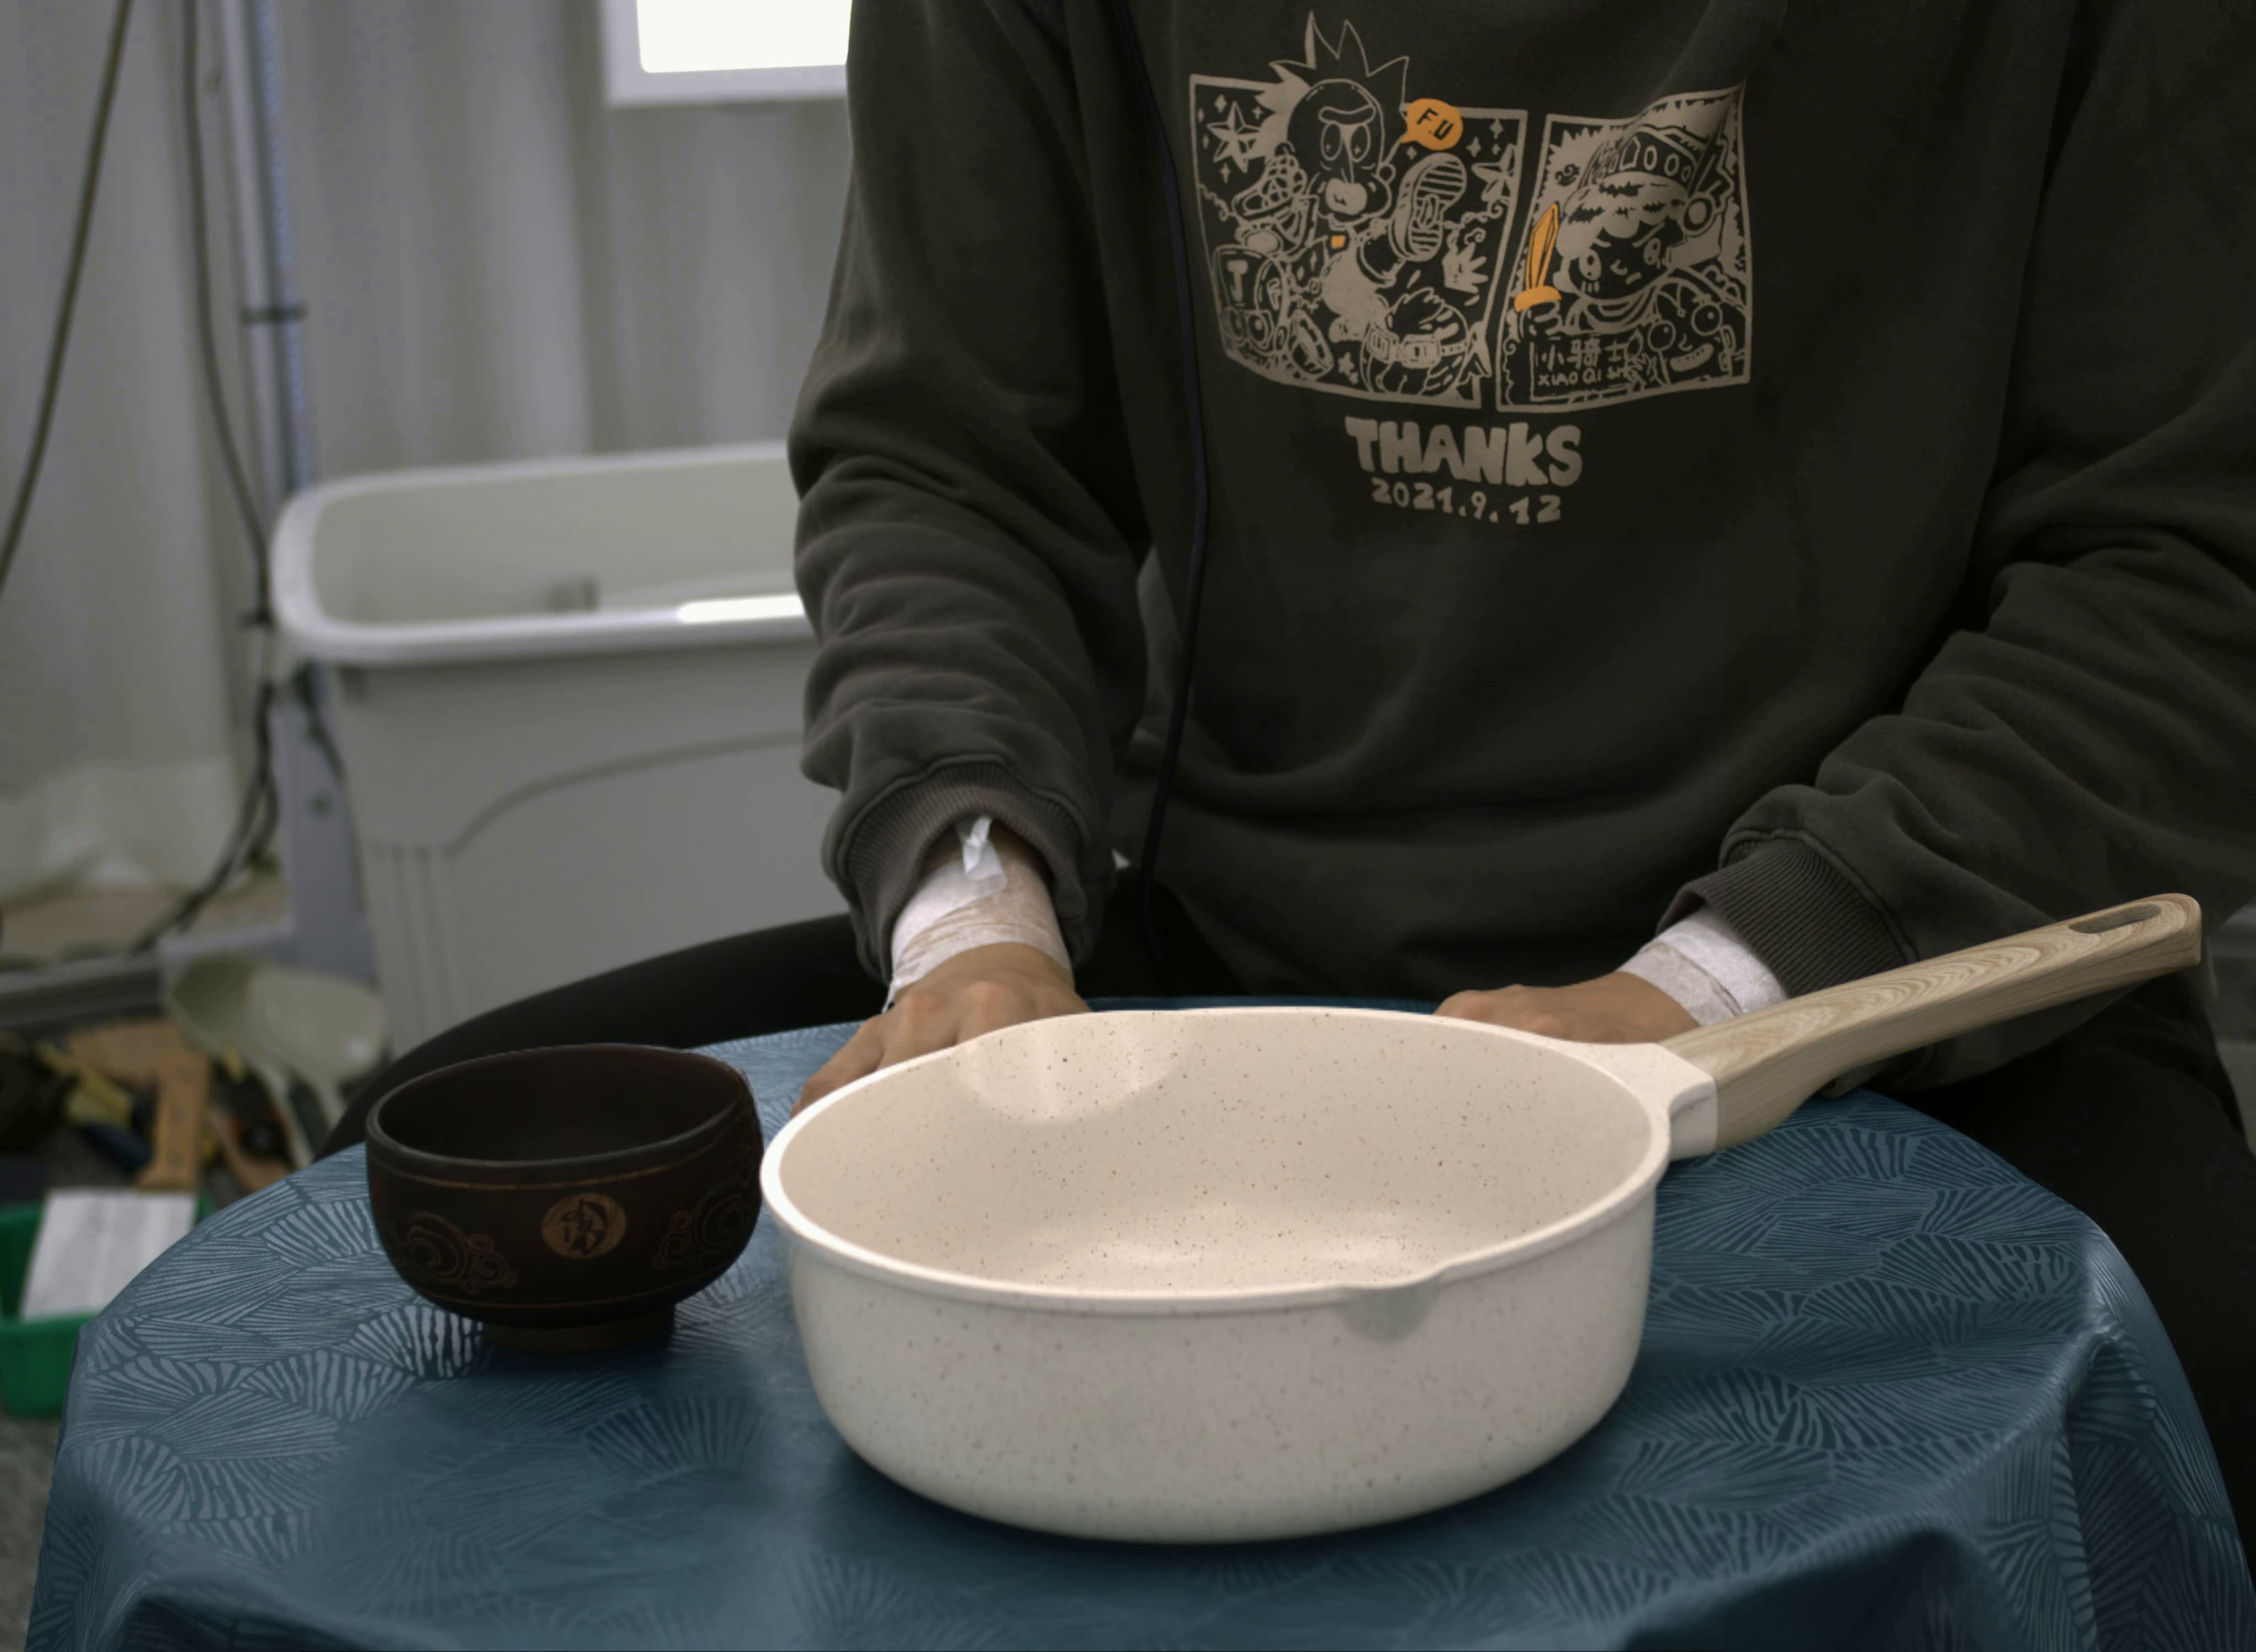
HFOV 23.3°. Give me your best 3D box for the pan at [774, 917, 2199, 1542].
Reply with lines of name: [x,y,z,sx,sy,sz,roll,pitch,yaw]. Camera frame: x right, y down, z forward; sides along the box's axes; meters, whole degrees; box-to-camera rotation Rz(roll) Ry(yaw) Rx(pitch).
pan: [0.114,0.107,1.541,0.433,0.101,0.265,-8,14,-20]

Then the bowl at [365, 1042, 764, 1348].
bowl: [-0.165,0.113,1.623,0.117,0.069,0.119,-4,13,1]
